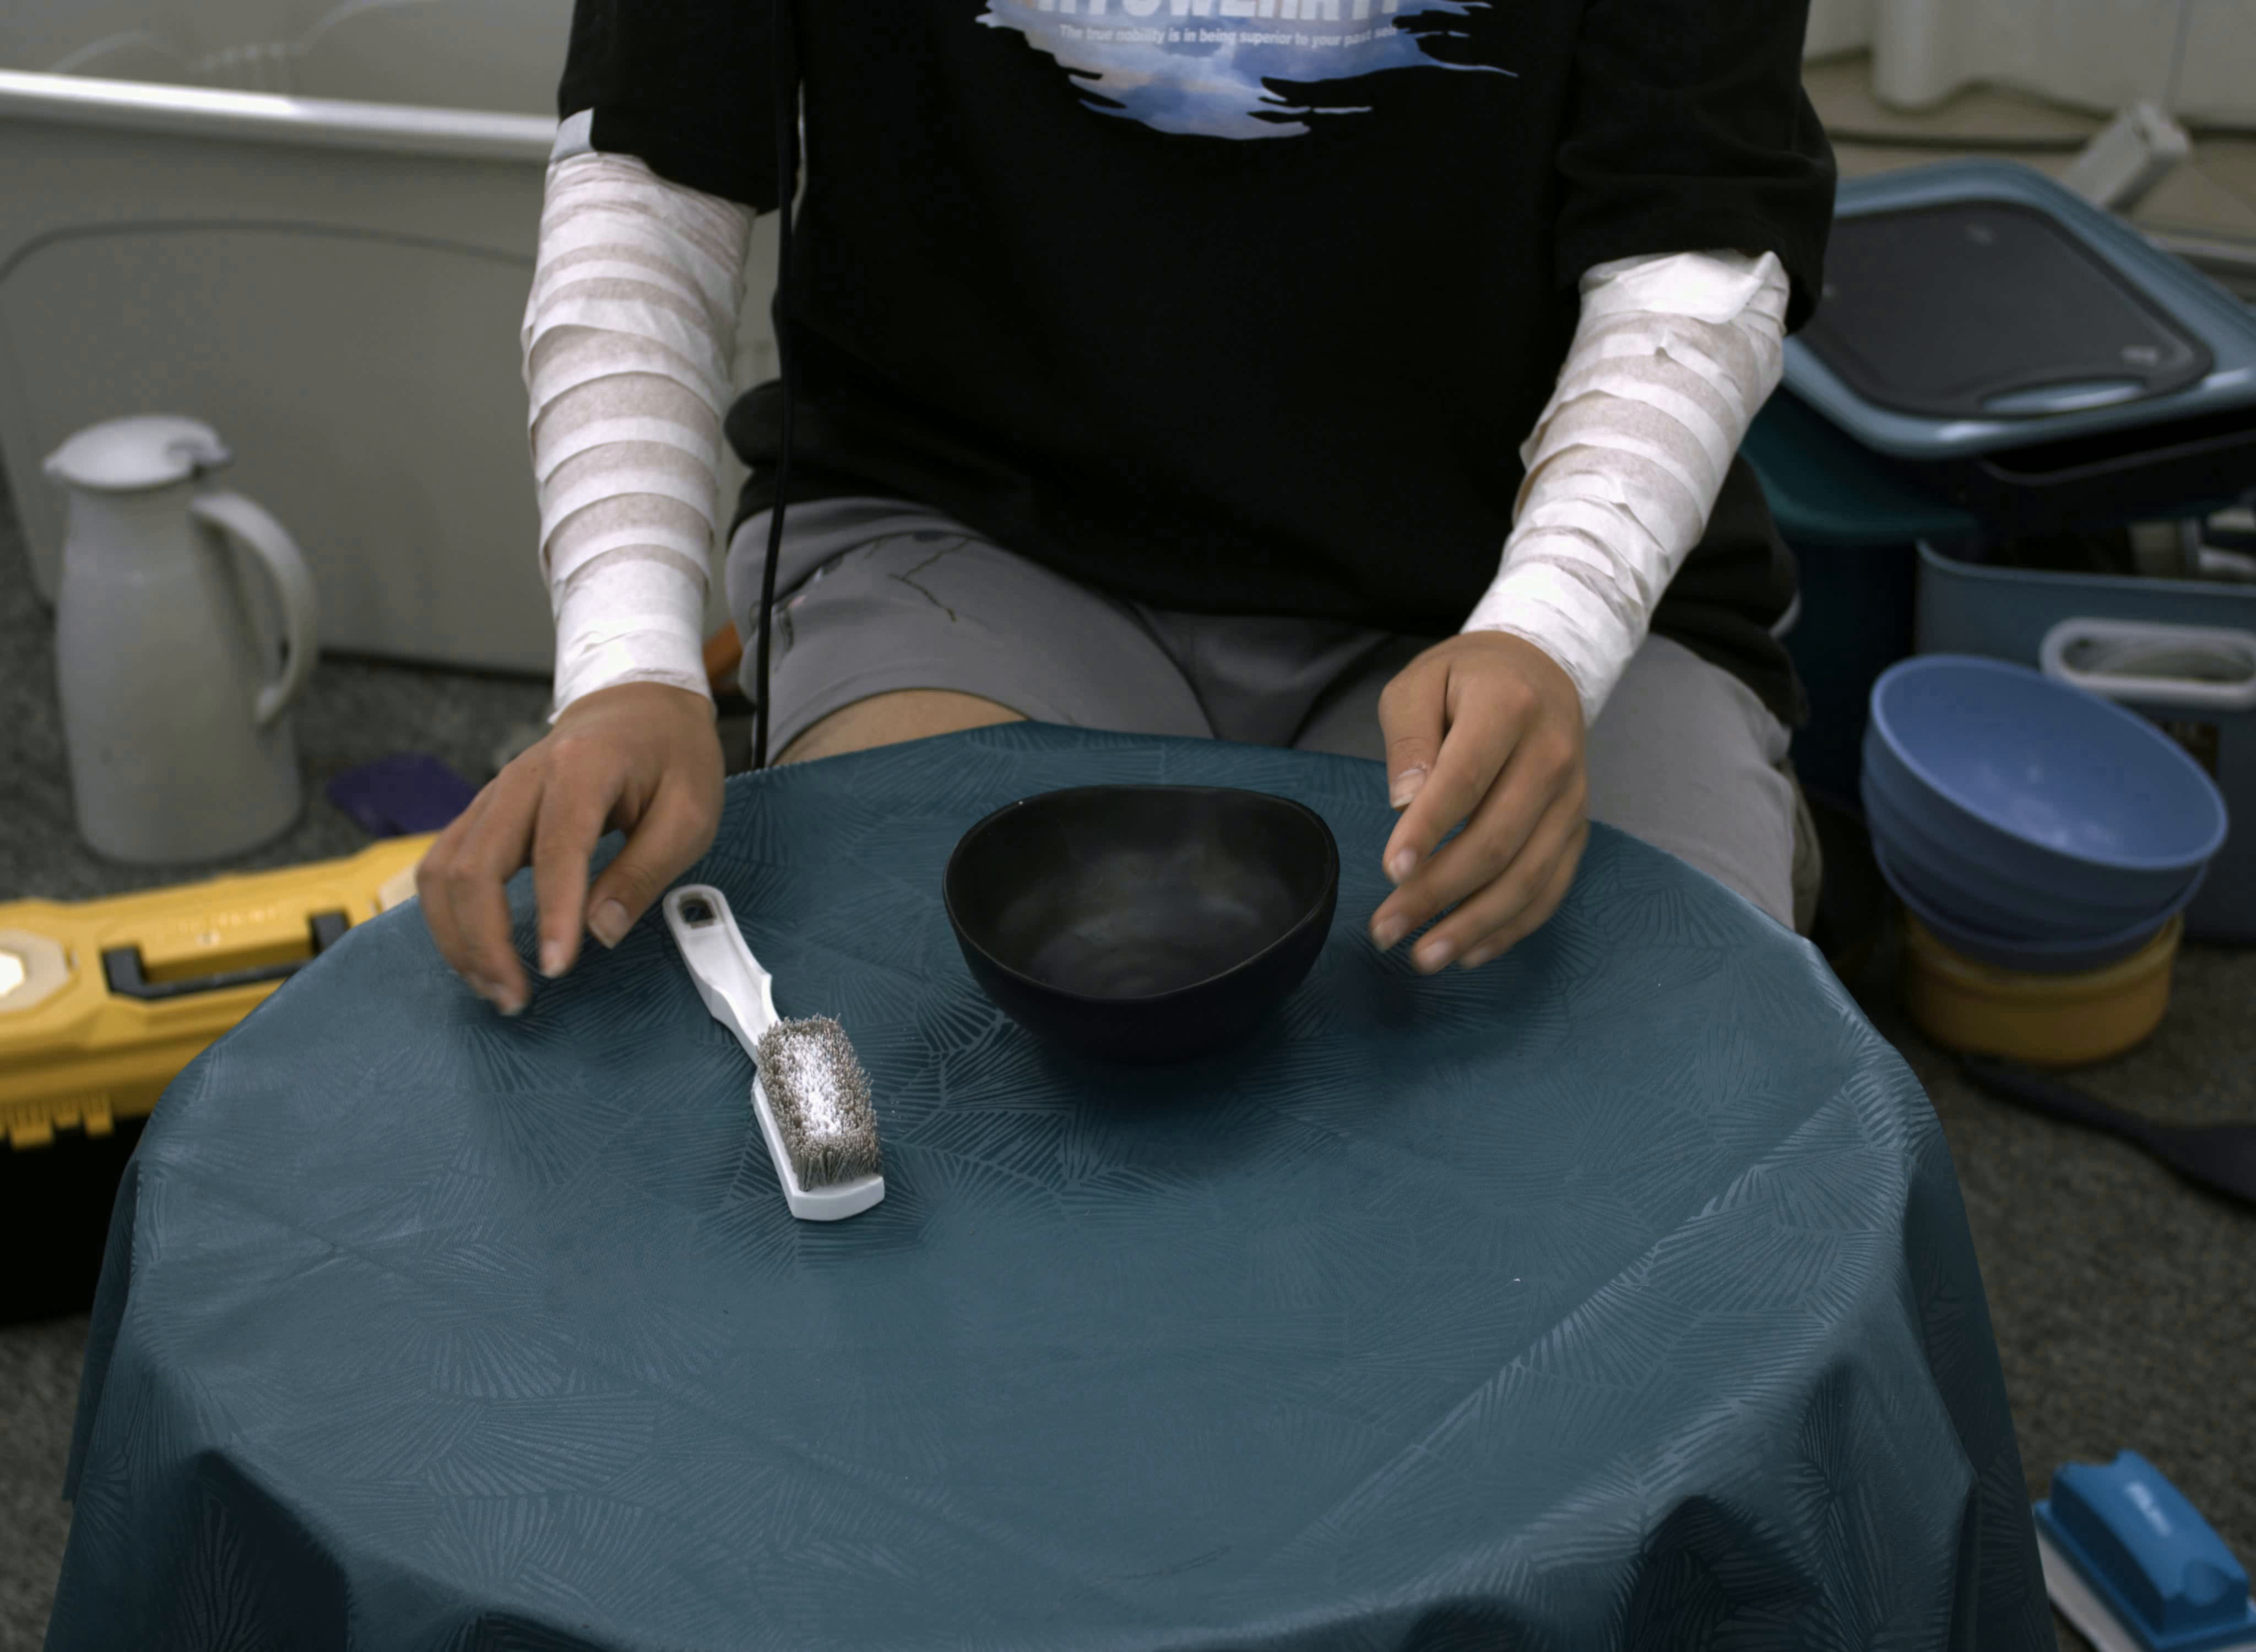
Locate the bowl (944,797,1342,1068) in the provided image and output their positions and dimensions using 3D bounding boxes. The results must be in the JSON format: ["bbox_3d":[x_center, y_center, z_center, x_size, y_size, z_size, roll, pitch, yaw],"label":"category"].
[{"bbox_3d":[0.007,0.041,1.950,0.136,0.066,0.173,2,25,9],"label":"bowl"}]

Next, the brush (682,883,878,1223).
[{"bbox_3d":[-0.125,0.061,1.940,0.034,0.050,0.246,-10,28,-10],"label":"brush"}]
